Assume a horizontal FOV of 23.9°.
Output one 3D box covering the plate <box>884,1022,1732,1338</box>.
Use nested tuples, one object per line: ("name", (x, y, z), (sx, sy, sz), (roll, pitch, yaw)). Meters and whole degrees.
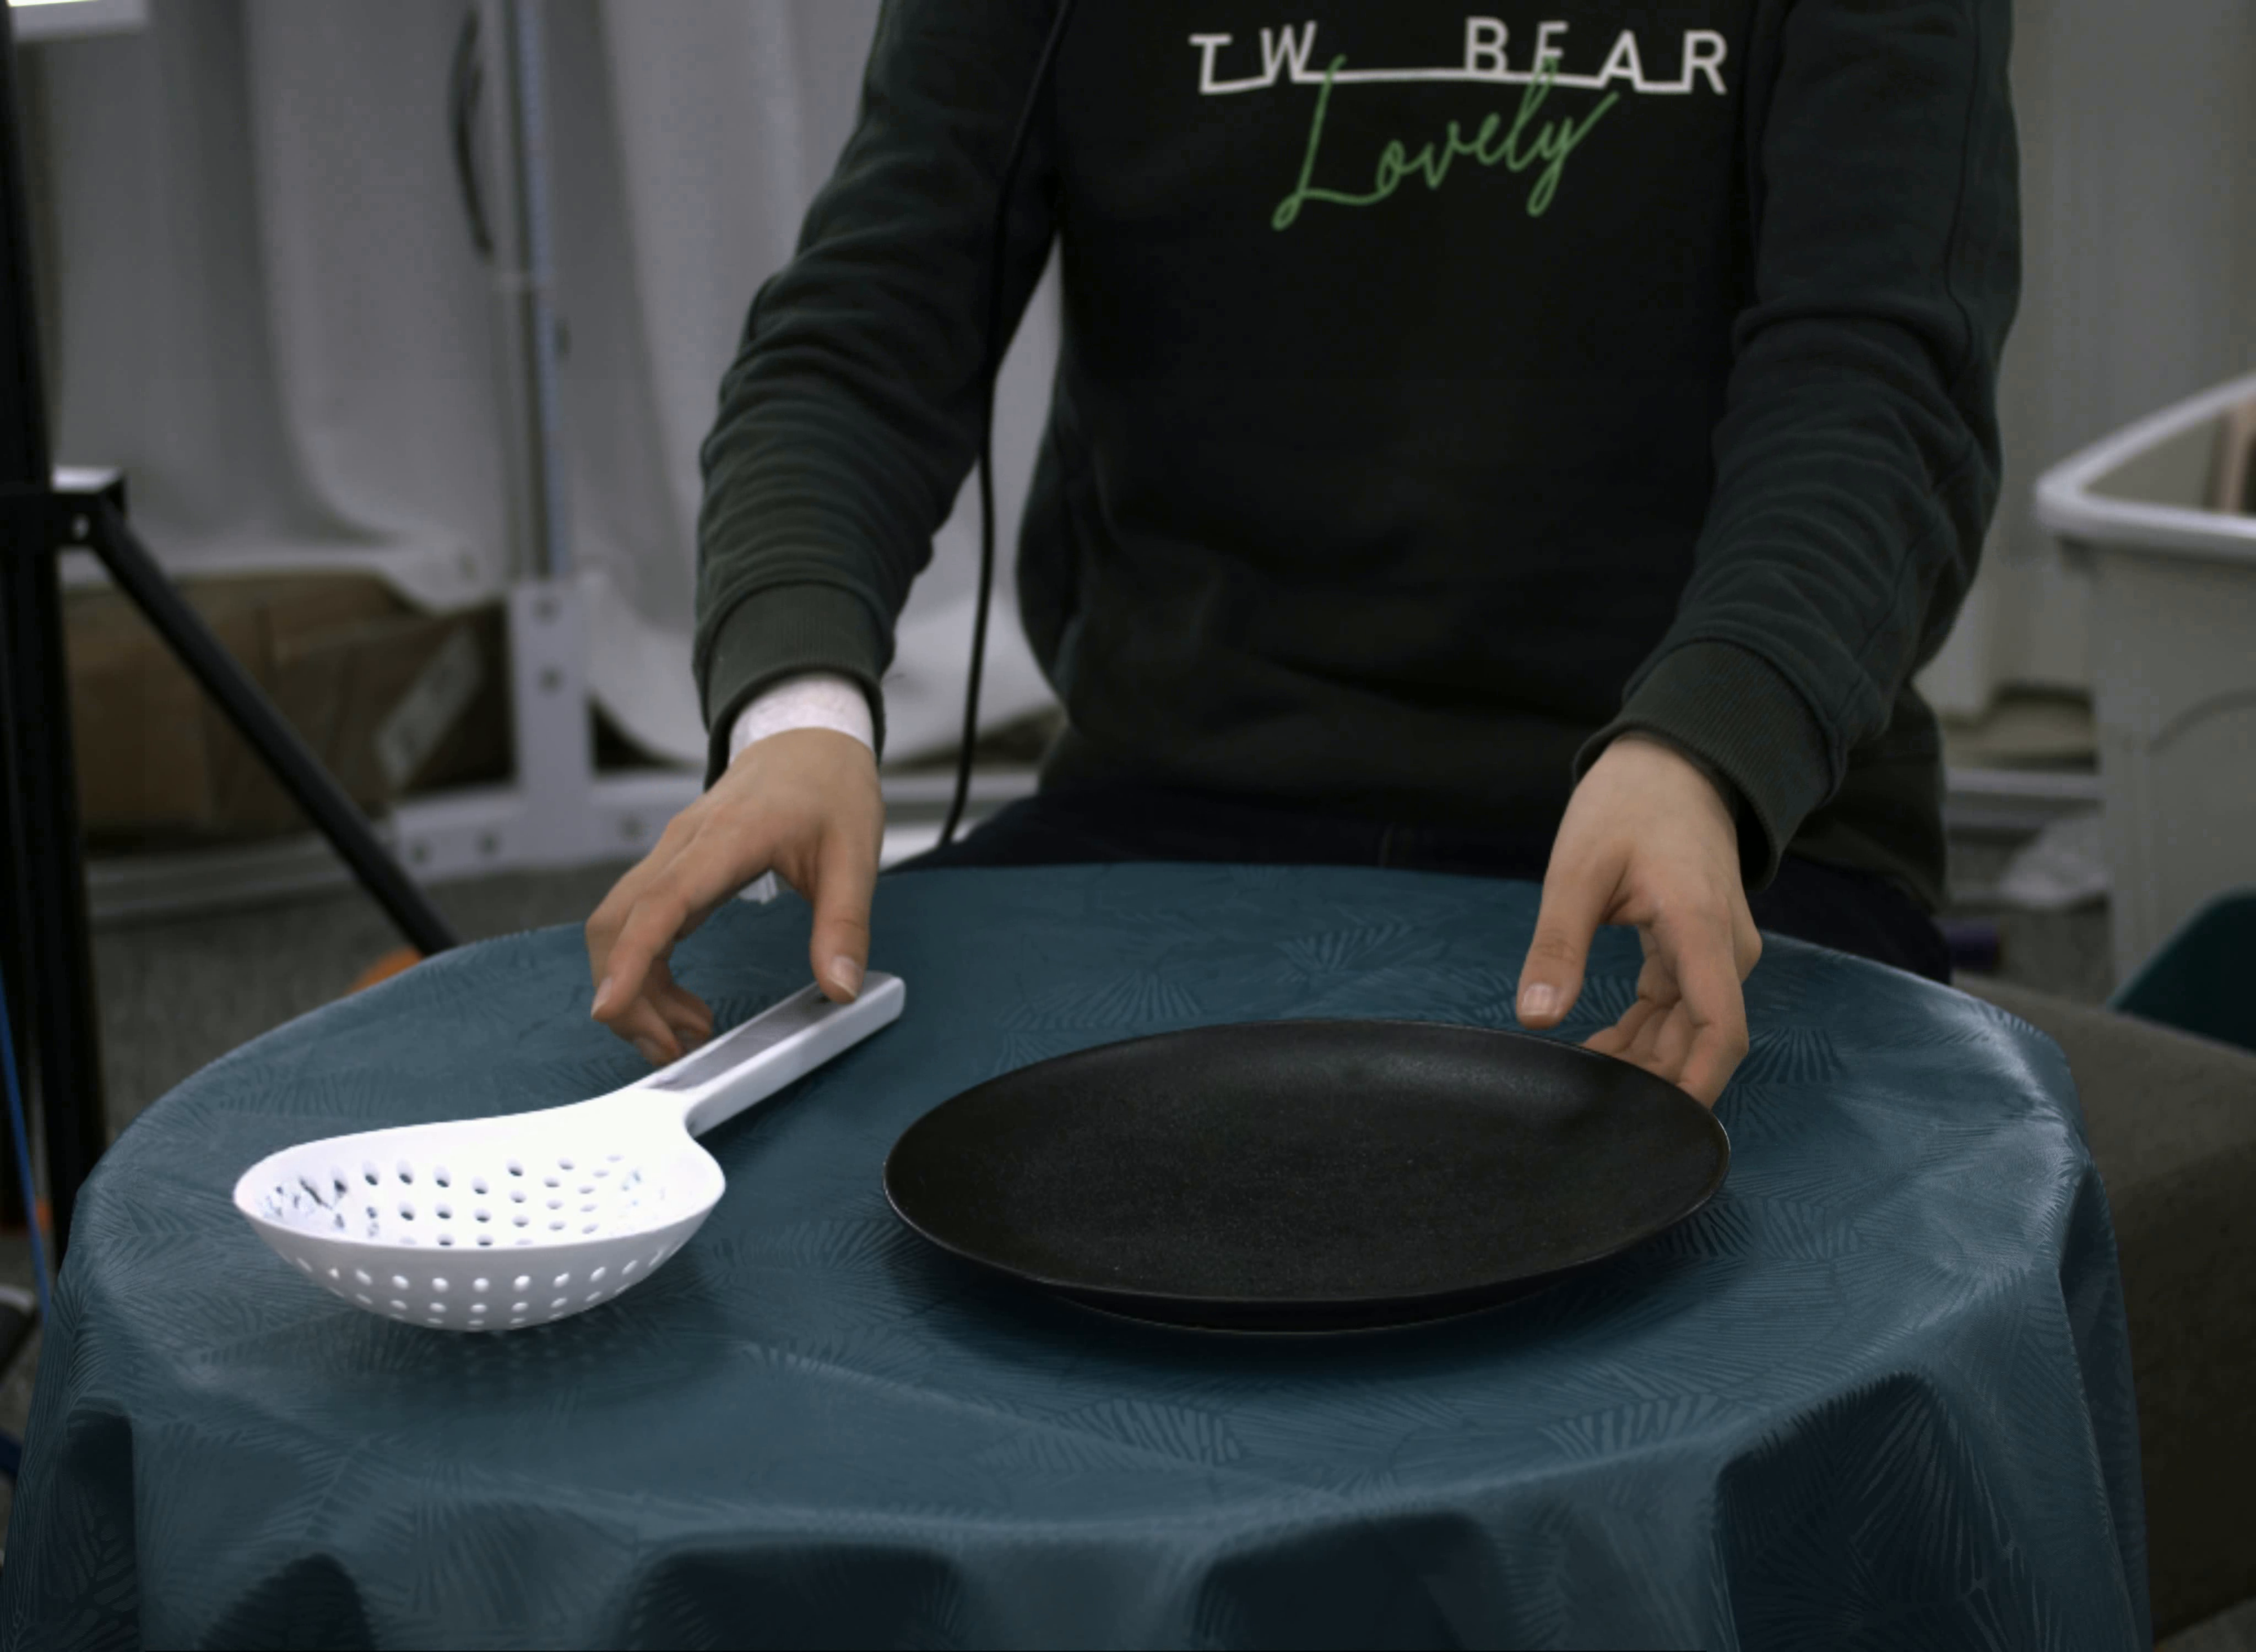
("plate", (0.052, 0.104, 1.522), (0.243, 0.023, 0.245), (-3, 16, -1))

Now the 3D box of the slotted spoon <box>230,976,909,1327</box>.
("slotted spoon", (-0.143, 0.087, 1.575), (0.137, 0.046, 0.345), (5, 17, 20))
